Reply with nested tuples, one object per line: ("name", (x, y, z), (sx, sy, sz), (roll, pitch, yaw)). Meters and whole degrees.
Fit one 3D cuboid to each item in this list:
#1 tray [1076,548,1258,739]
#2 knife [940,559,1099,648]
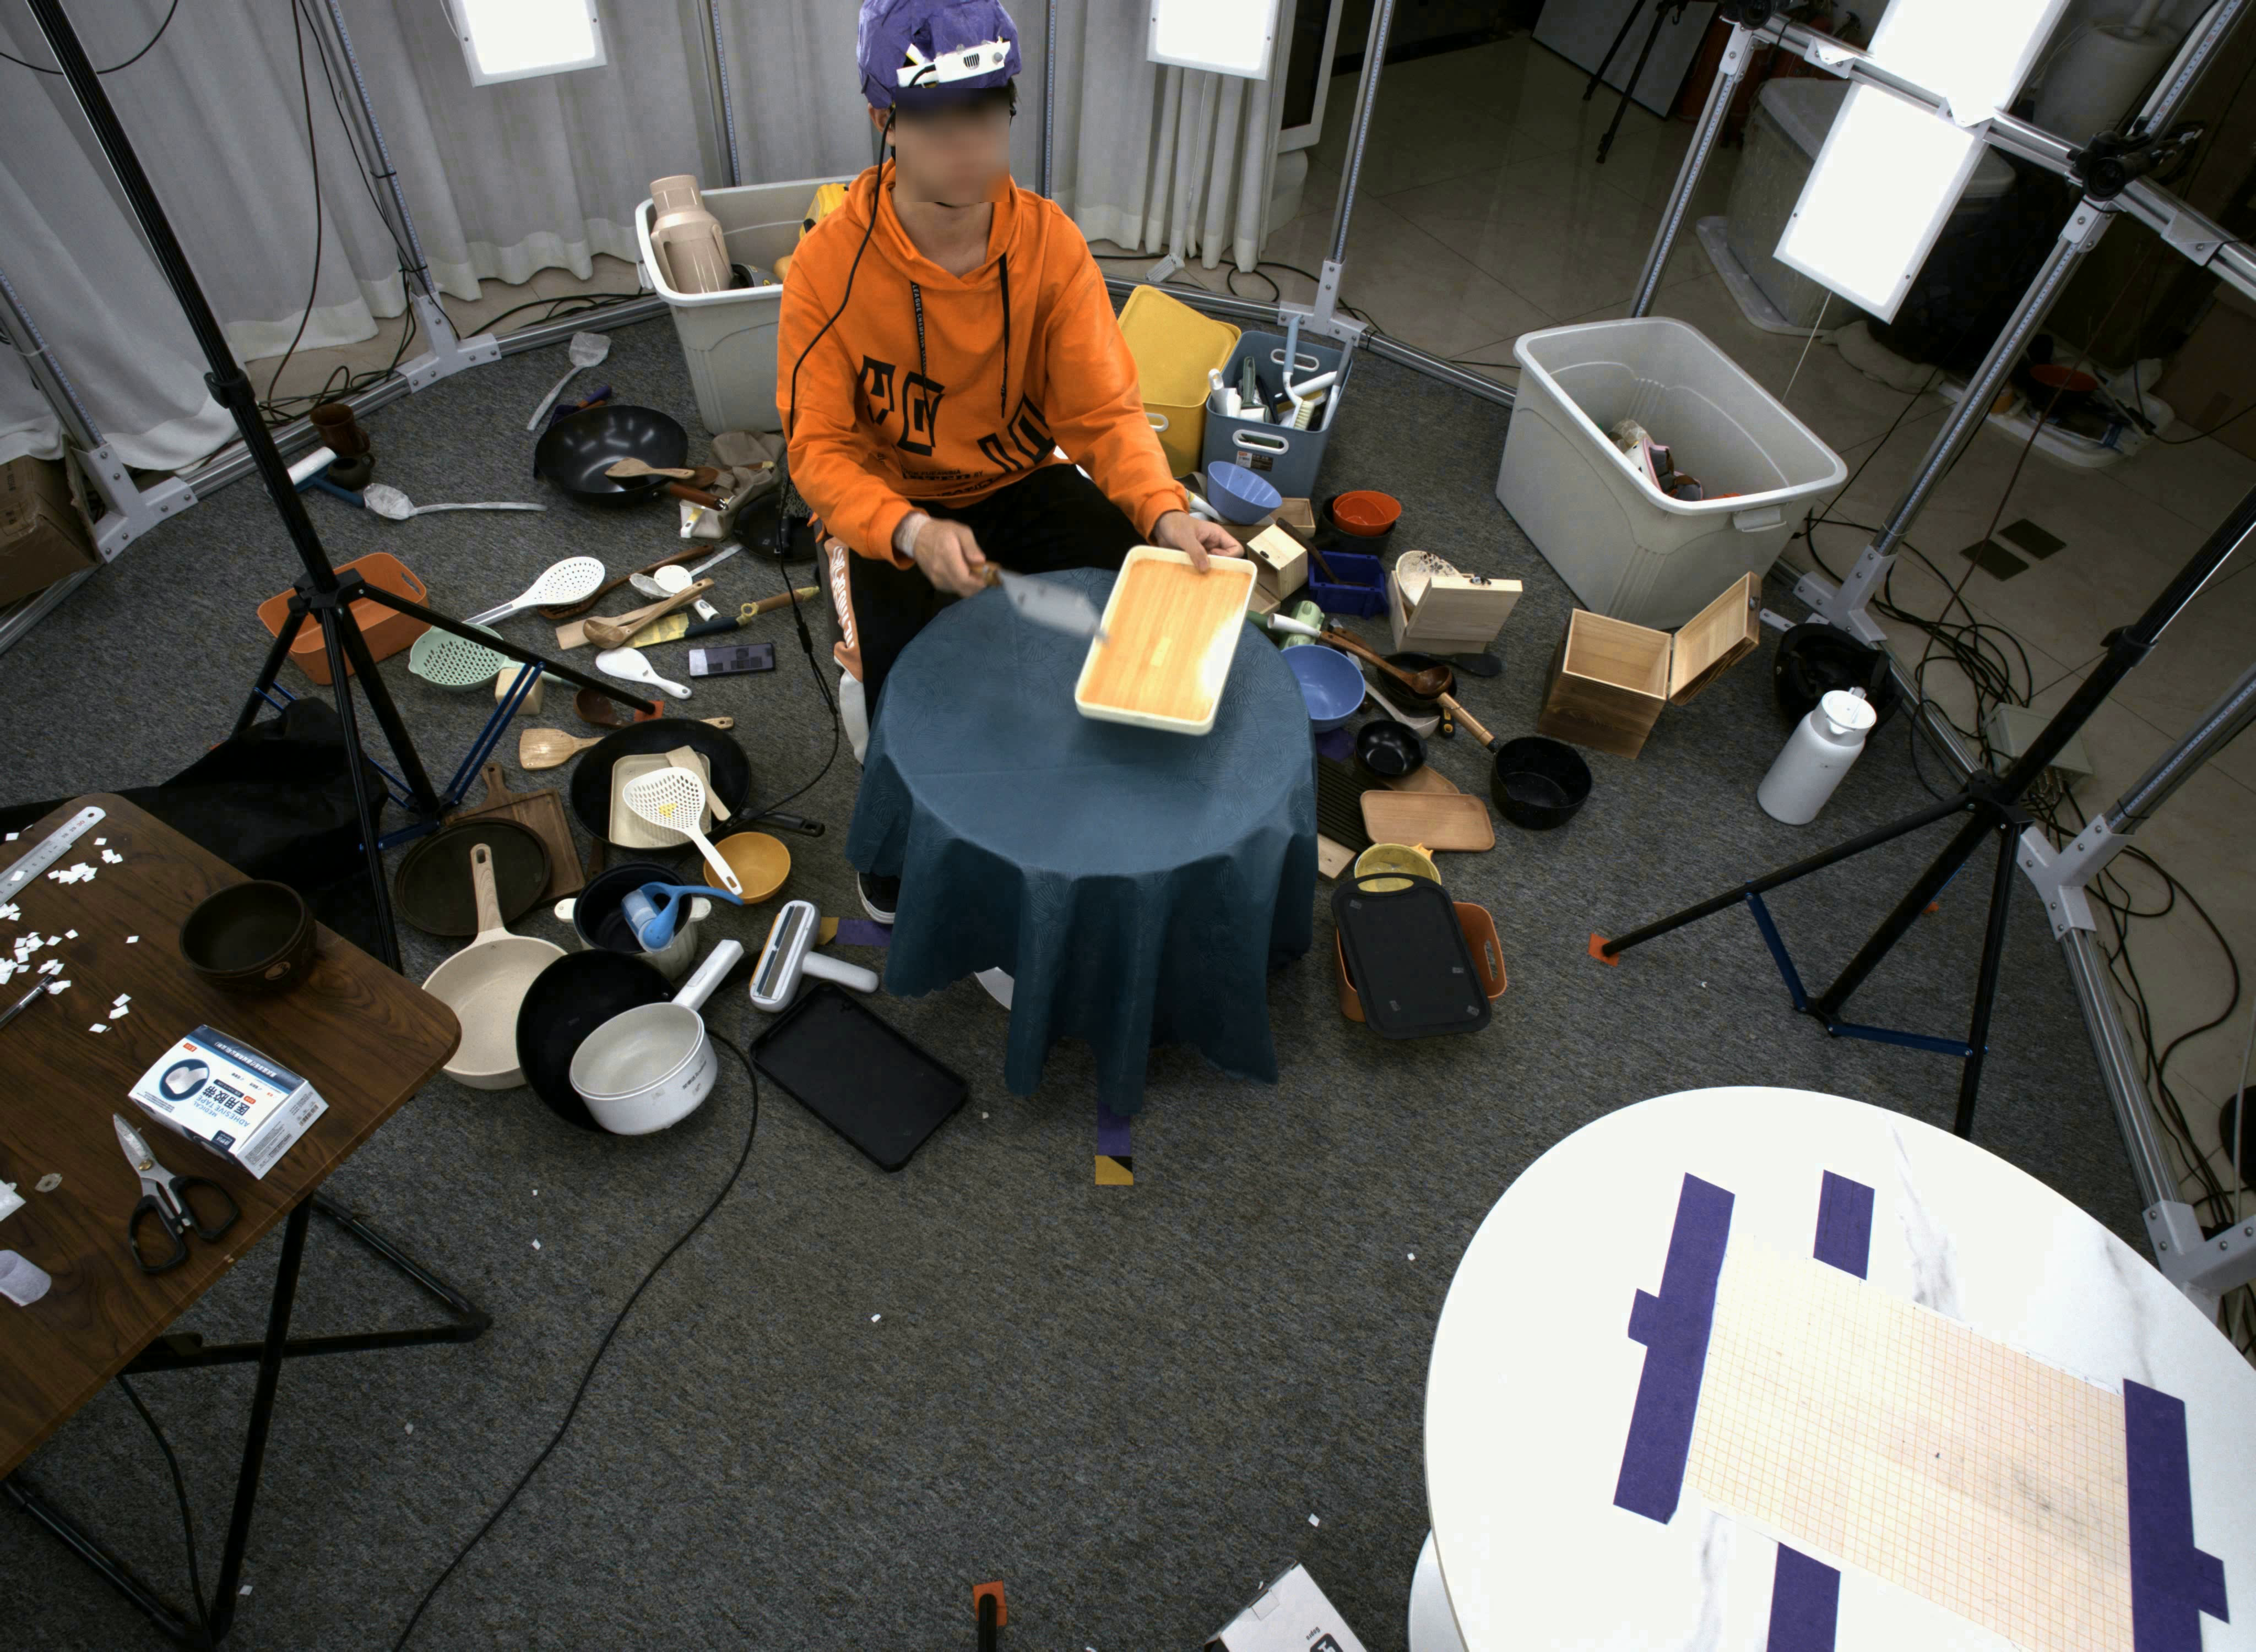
("tray", (0.058, -0.257, 1.770), (0.192, 0.027, 0.306), (9, 58, 15))
("knife", (-0.145, -0.296, 1.718), (0.021, 0.091, 0.310), (-47, 44, -15))
